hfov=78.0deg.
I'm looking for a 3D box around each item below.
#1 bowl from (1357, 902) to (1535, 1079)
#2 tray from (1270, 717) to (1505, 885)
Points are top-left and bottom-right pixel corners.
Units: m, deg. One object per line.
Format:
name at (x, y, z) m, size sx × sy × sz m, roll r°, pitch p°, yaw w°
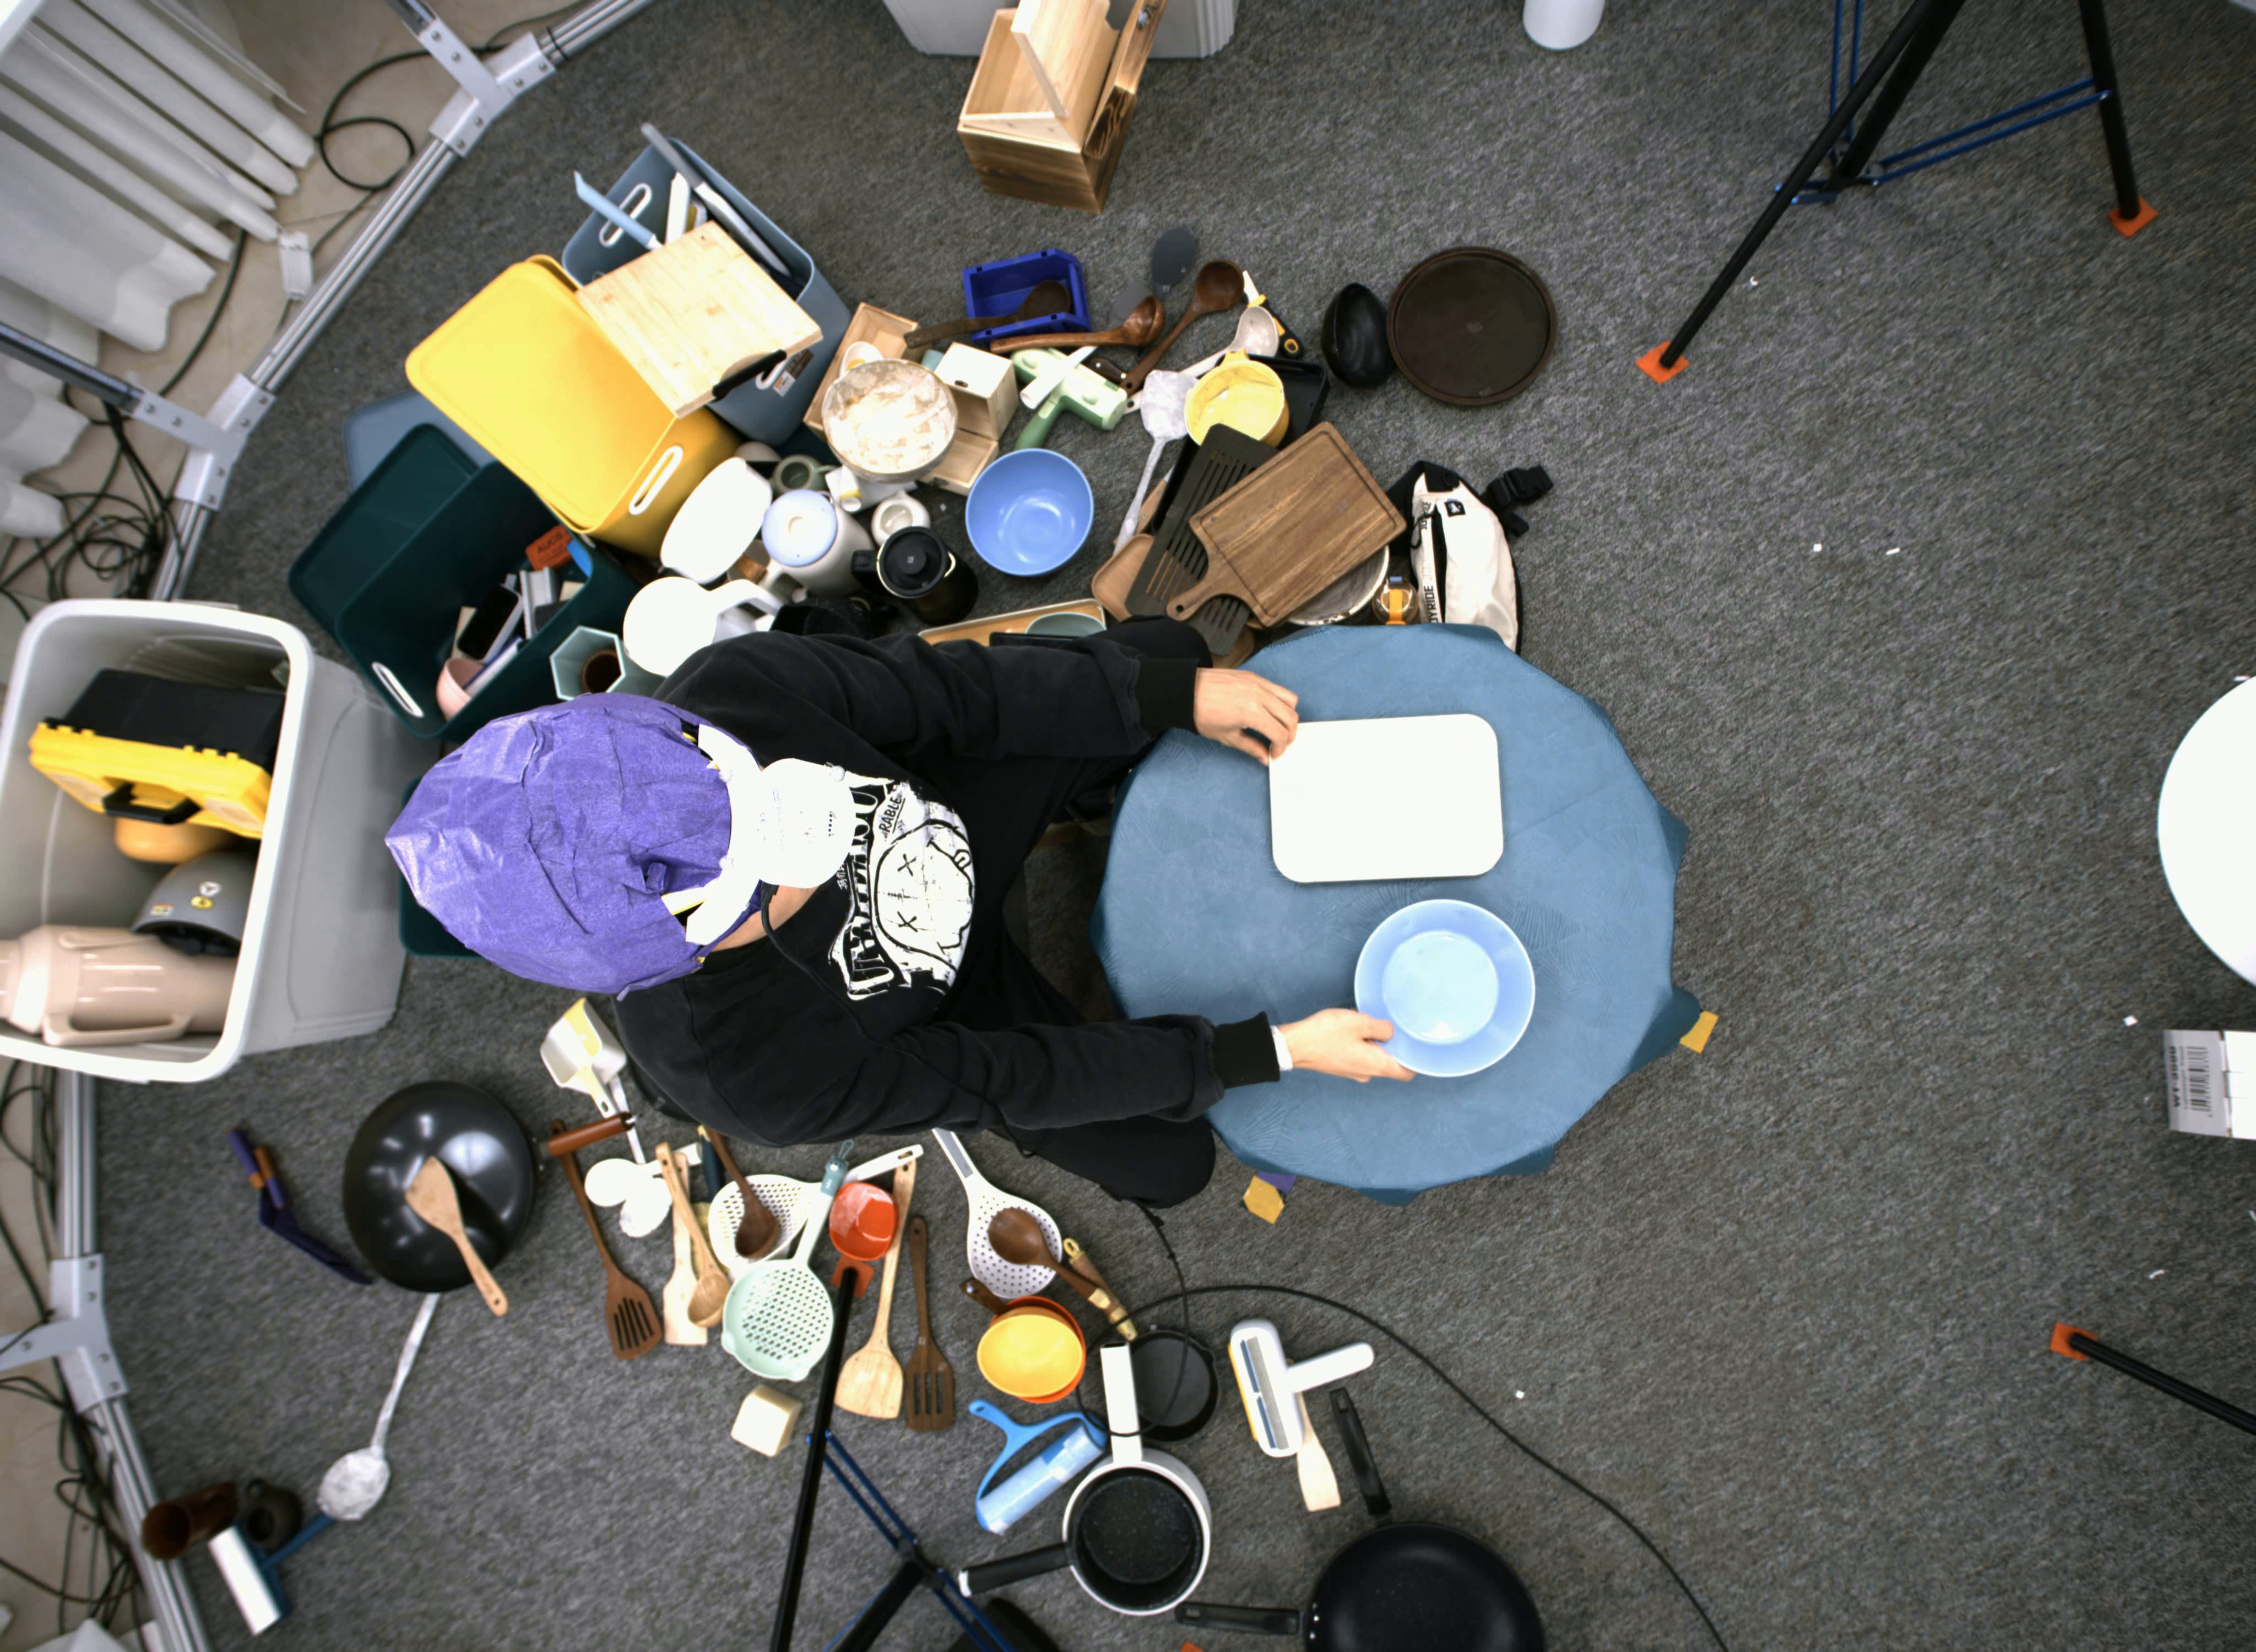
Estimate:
bowl at (0.320, 0.165, 1.404) m, size 0.176 × 0.070 × 0.175 m, roll -1°, pitch 85°, yaw 9°
tray at (0.273, -0.027, 1.457) m, size 0.240 × 0.017 × 0.170 m, roll -3°, pitch 86°, yaw 8°
